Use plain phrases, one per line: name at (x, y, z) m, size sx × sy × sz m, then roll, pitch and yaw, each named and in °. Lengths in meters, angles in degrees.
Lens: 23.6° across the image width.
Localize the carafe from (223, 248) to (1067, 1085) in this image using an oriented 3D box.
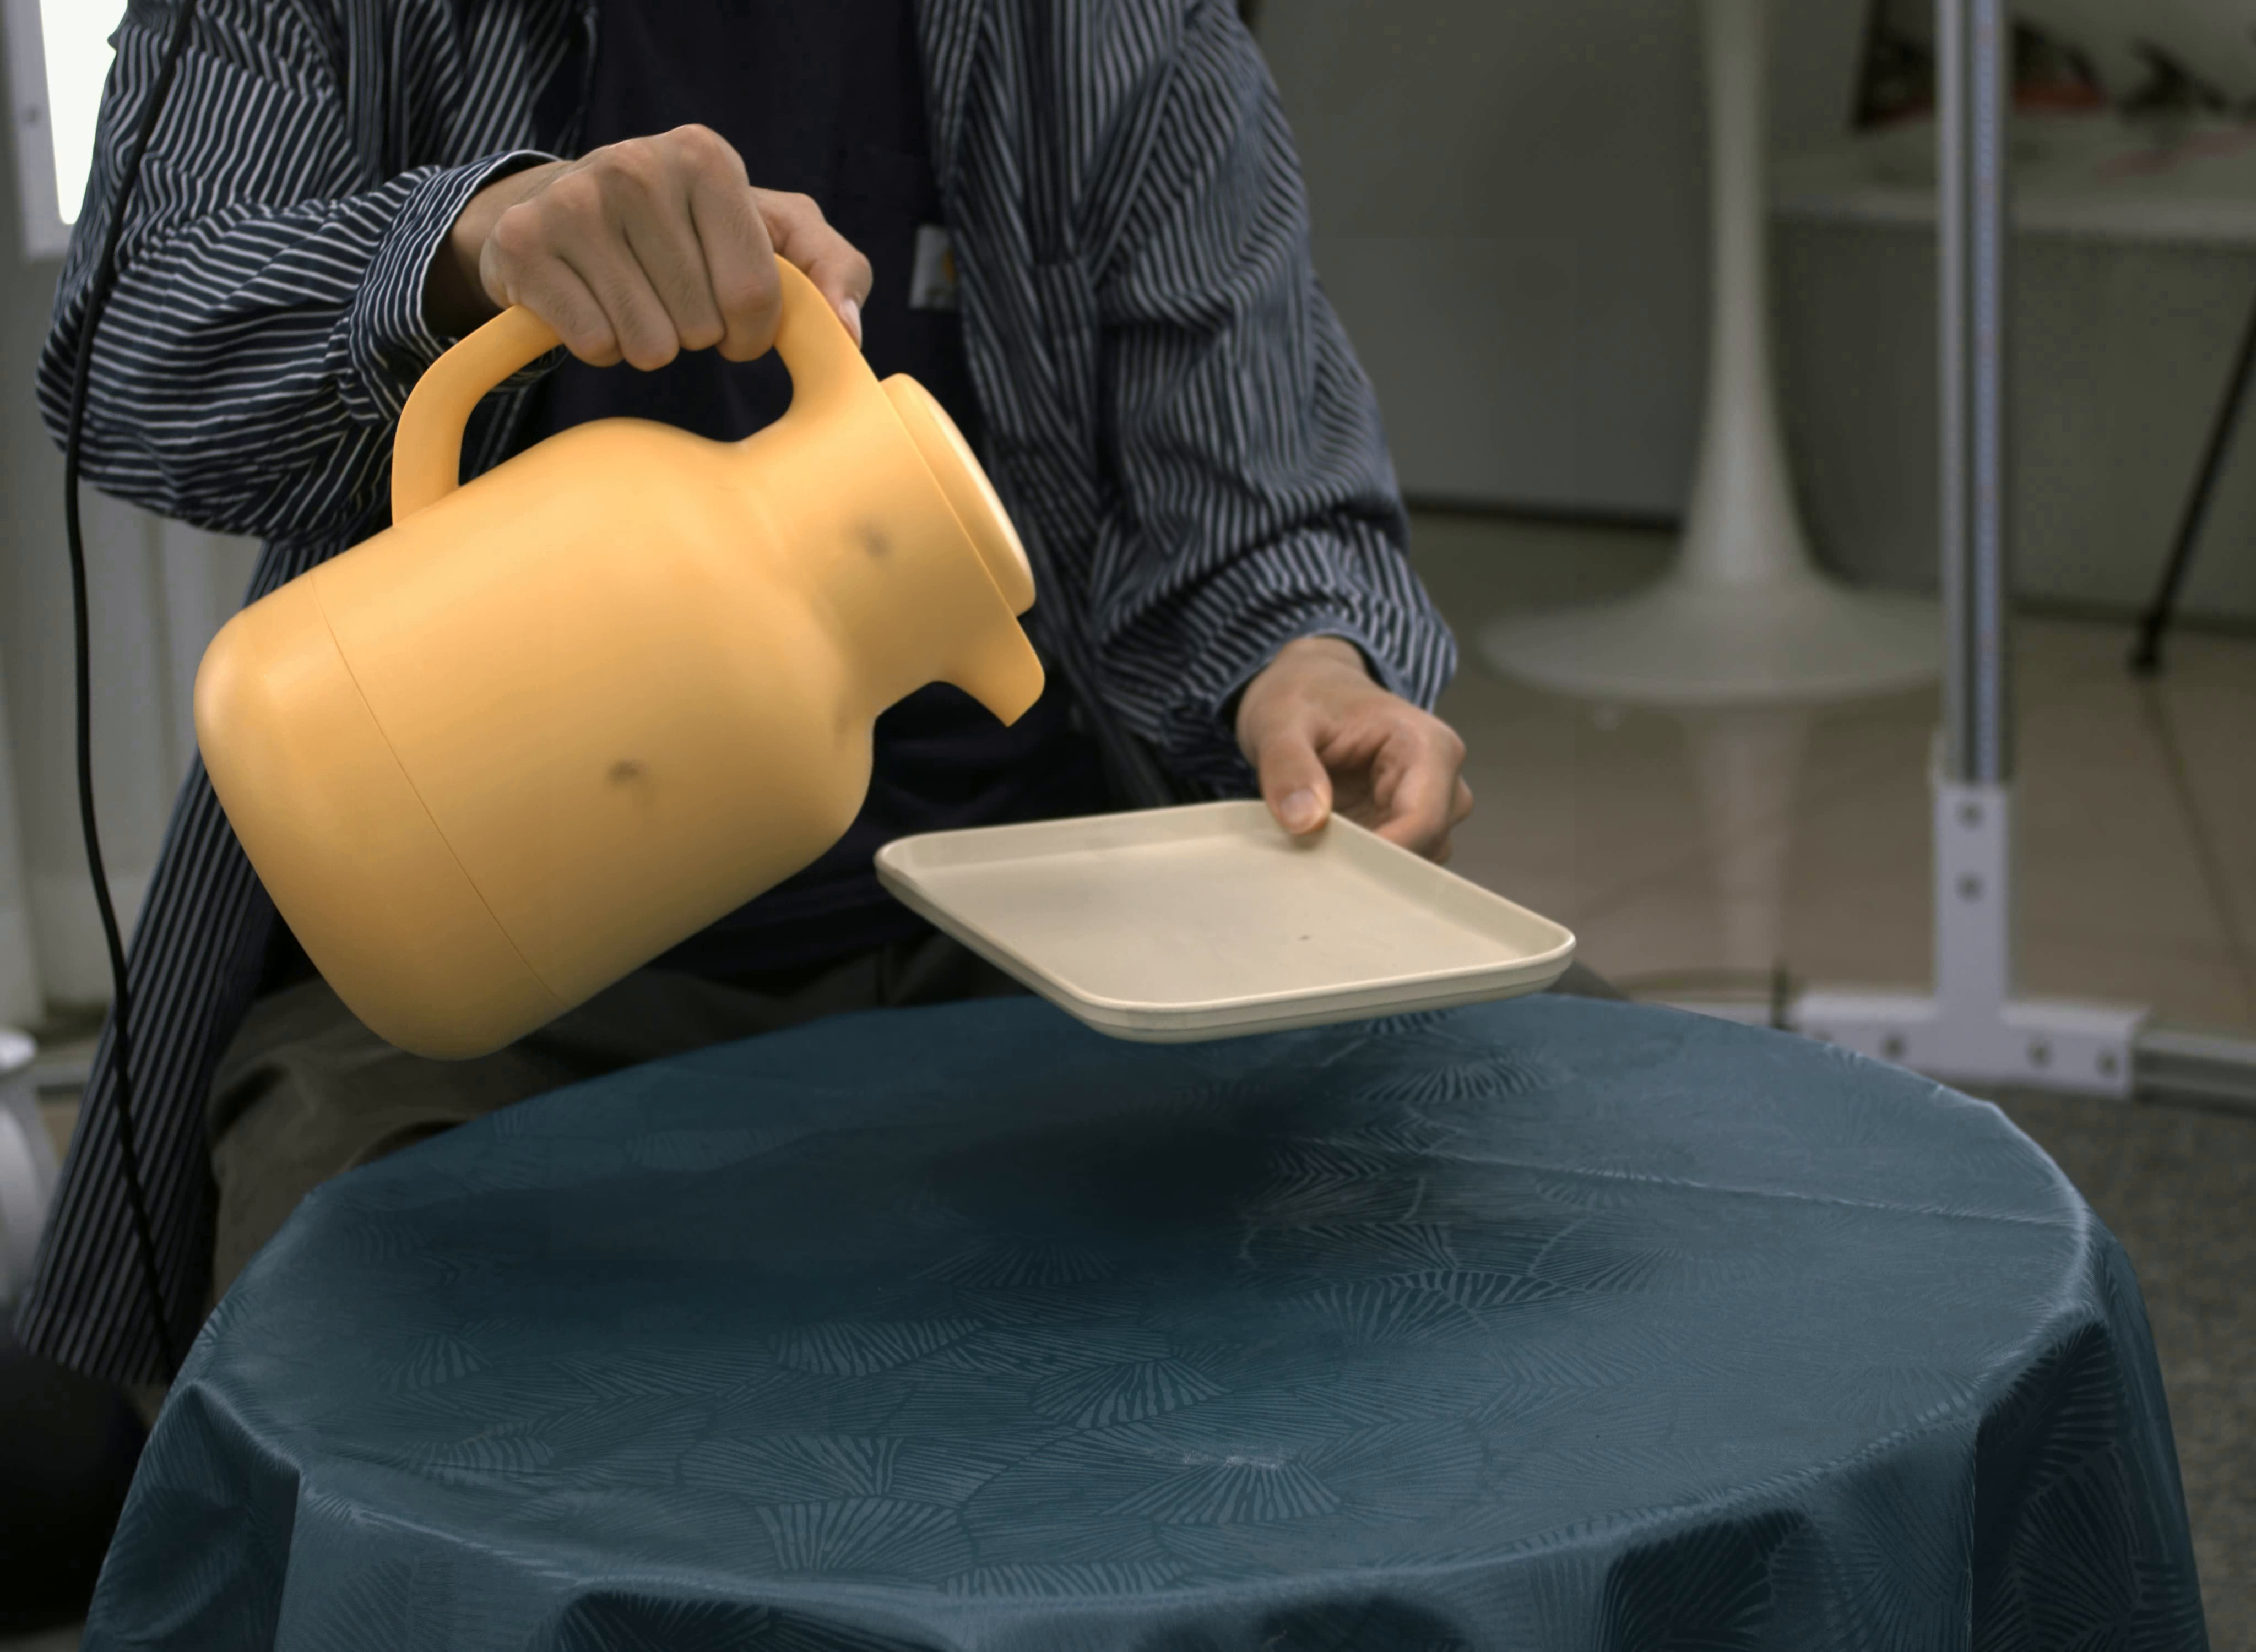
carafe at (-0.159, -0.058, 1.727) m, size 0.258 × 0.203 × 0.164 m, roll -30°, pitch 5°, yaw -1°

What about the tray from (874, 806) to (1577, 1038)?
tray at (0.028, 0.030, 1.755) m, size 0.167 × 0.018 × 0.242 m, roll -6°, pitch 14°, yaw -21°
